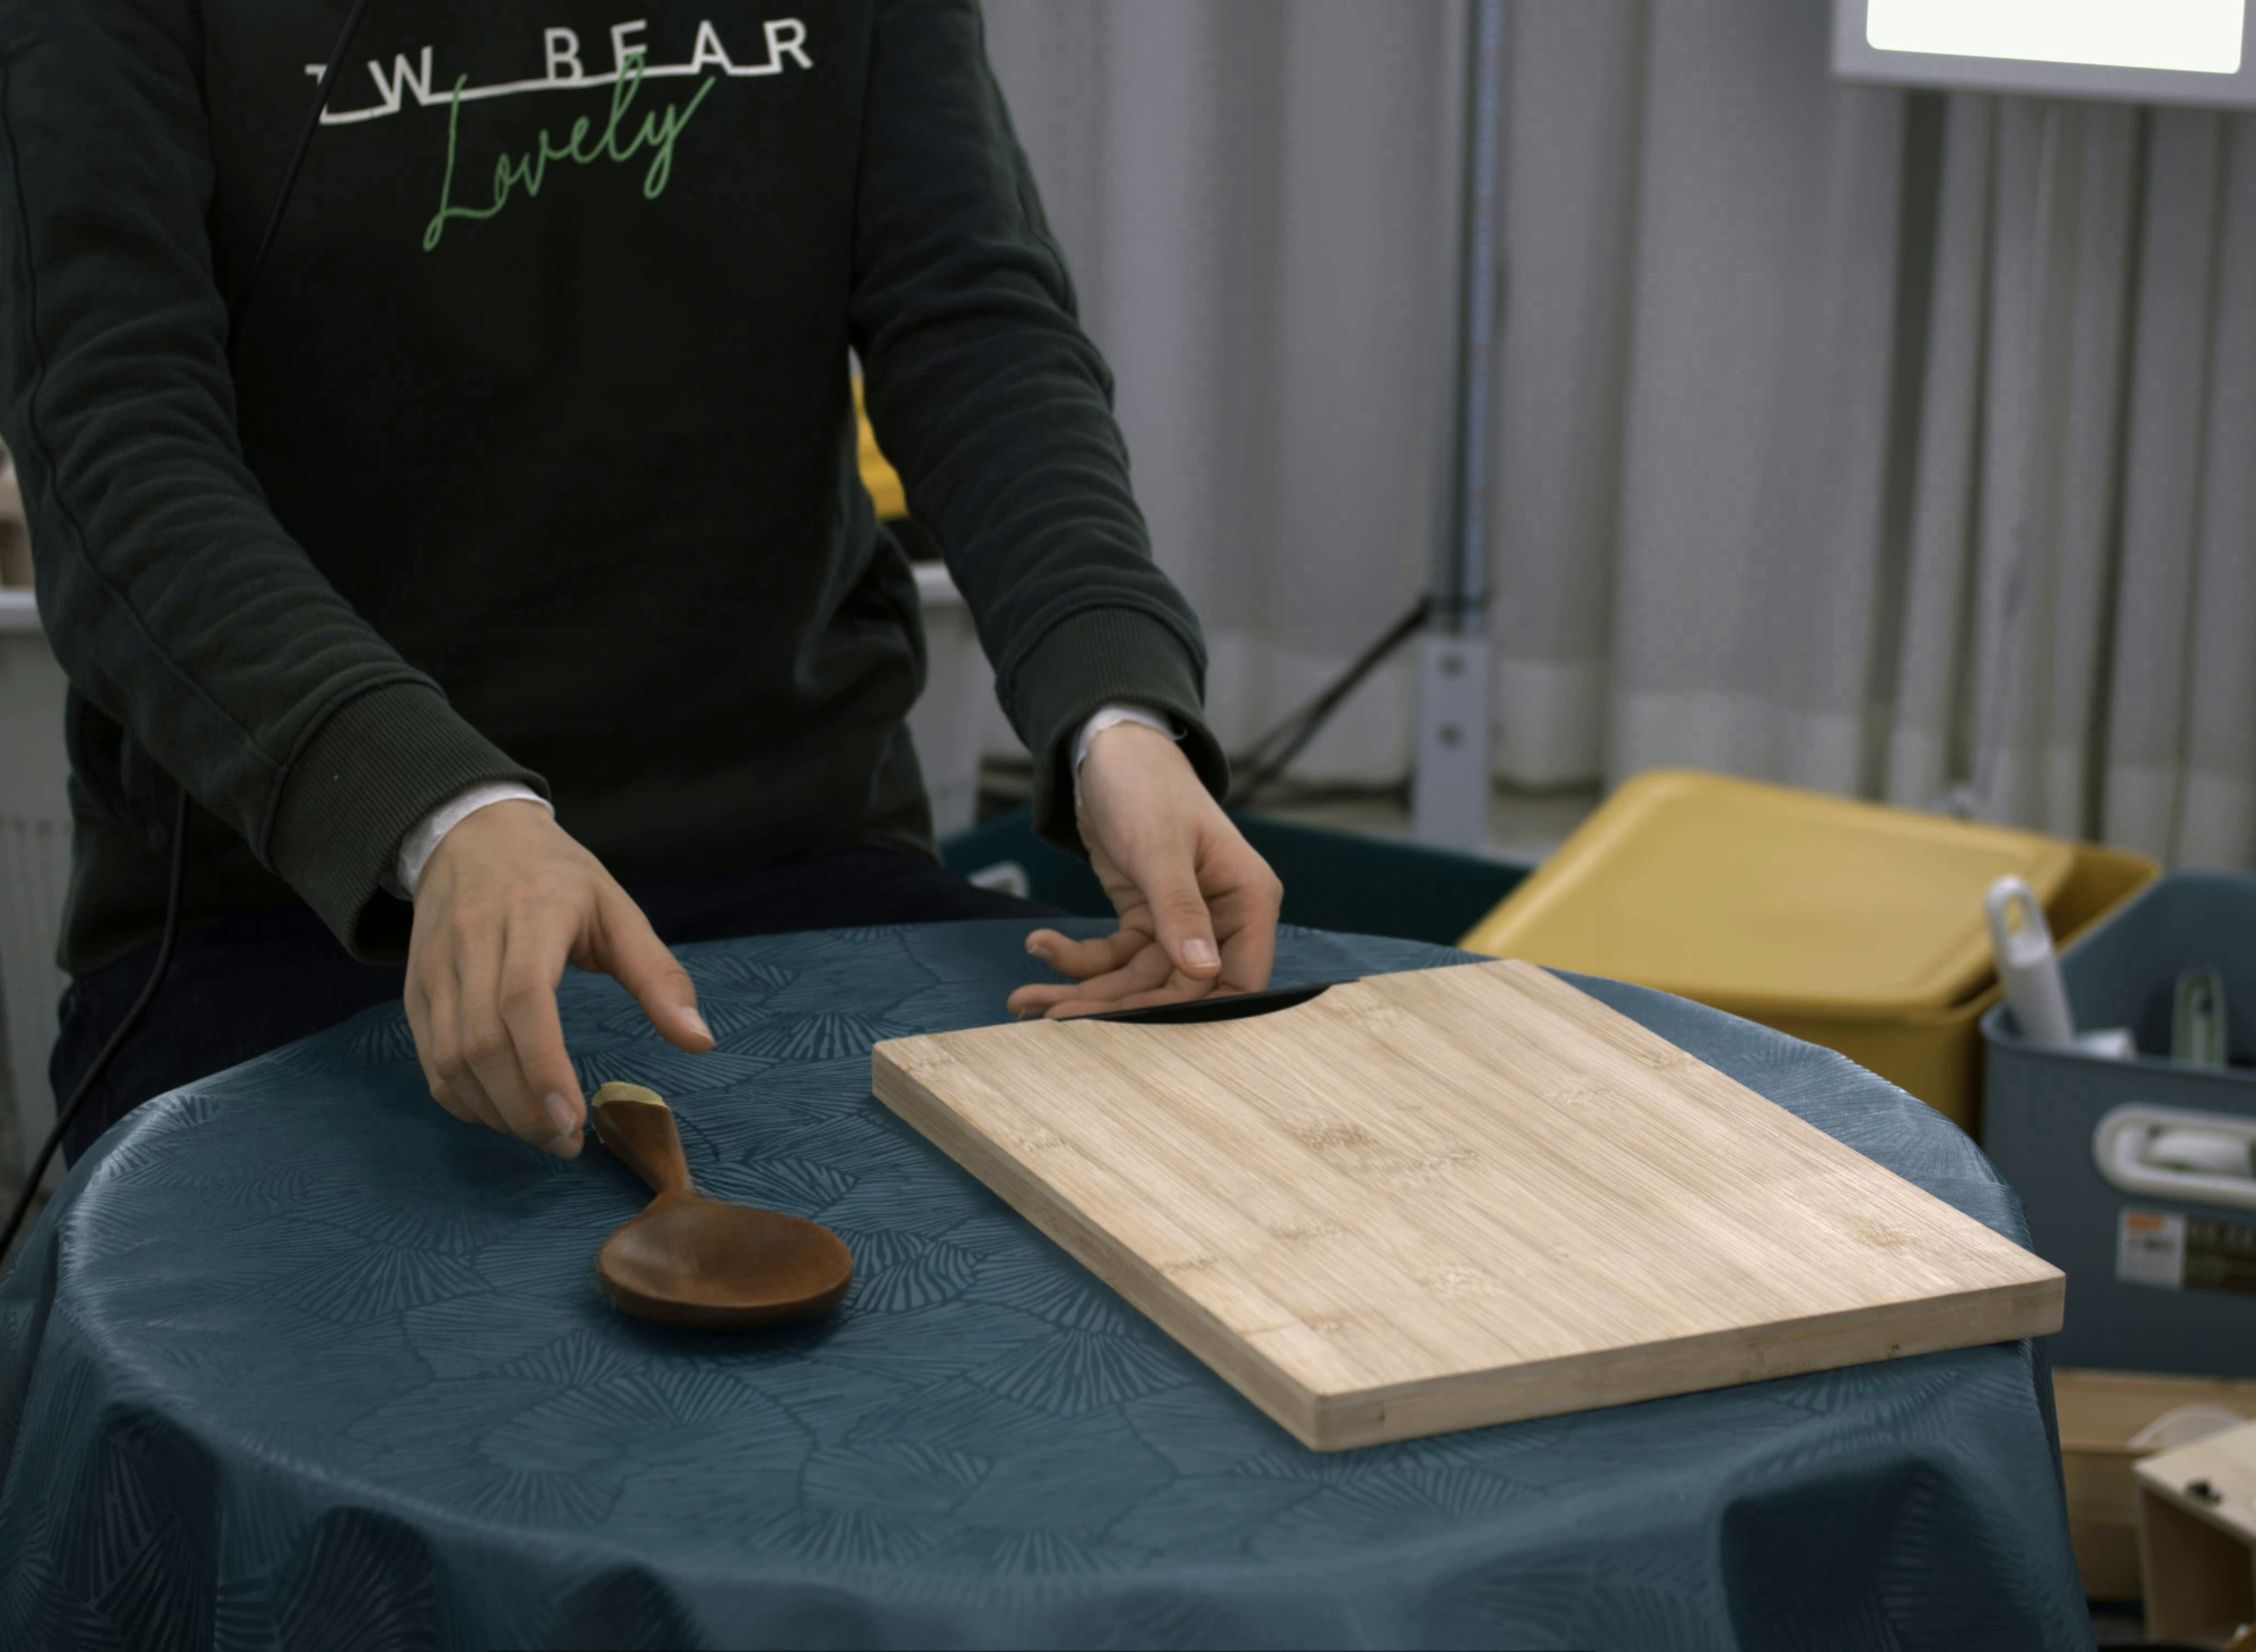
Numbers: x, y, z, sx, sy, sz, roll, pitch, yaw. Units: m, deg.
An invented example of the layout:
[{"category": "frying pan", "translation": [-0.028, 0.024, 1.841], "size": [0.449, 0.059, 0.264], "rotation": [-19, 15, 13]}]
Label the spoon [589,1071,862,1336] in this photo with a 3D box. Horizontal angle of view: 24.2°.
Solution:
[{"category": "spoon", "translation": [-0.132, 0.114, 1.583], "size": [0.075, 0.017, 0.213], "rotation": [-5, 18, -15]}]

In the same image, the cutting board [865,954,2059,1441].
[{"category": "cutting board", "translation": [0.091, 0.107, 1.621], "size": [0.251, 0.024, 0.344], "rotation": [-6, 17, -24]}]
